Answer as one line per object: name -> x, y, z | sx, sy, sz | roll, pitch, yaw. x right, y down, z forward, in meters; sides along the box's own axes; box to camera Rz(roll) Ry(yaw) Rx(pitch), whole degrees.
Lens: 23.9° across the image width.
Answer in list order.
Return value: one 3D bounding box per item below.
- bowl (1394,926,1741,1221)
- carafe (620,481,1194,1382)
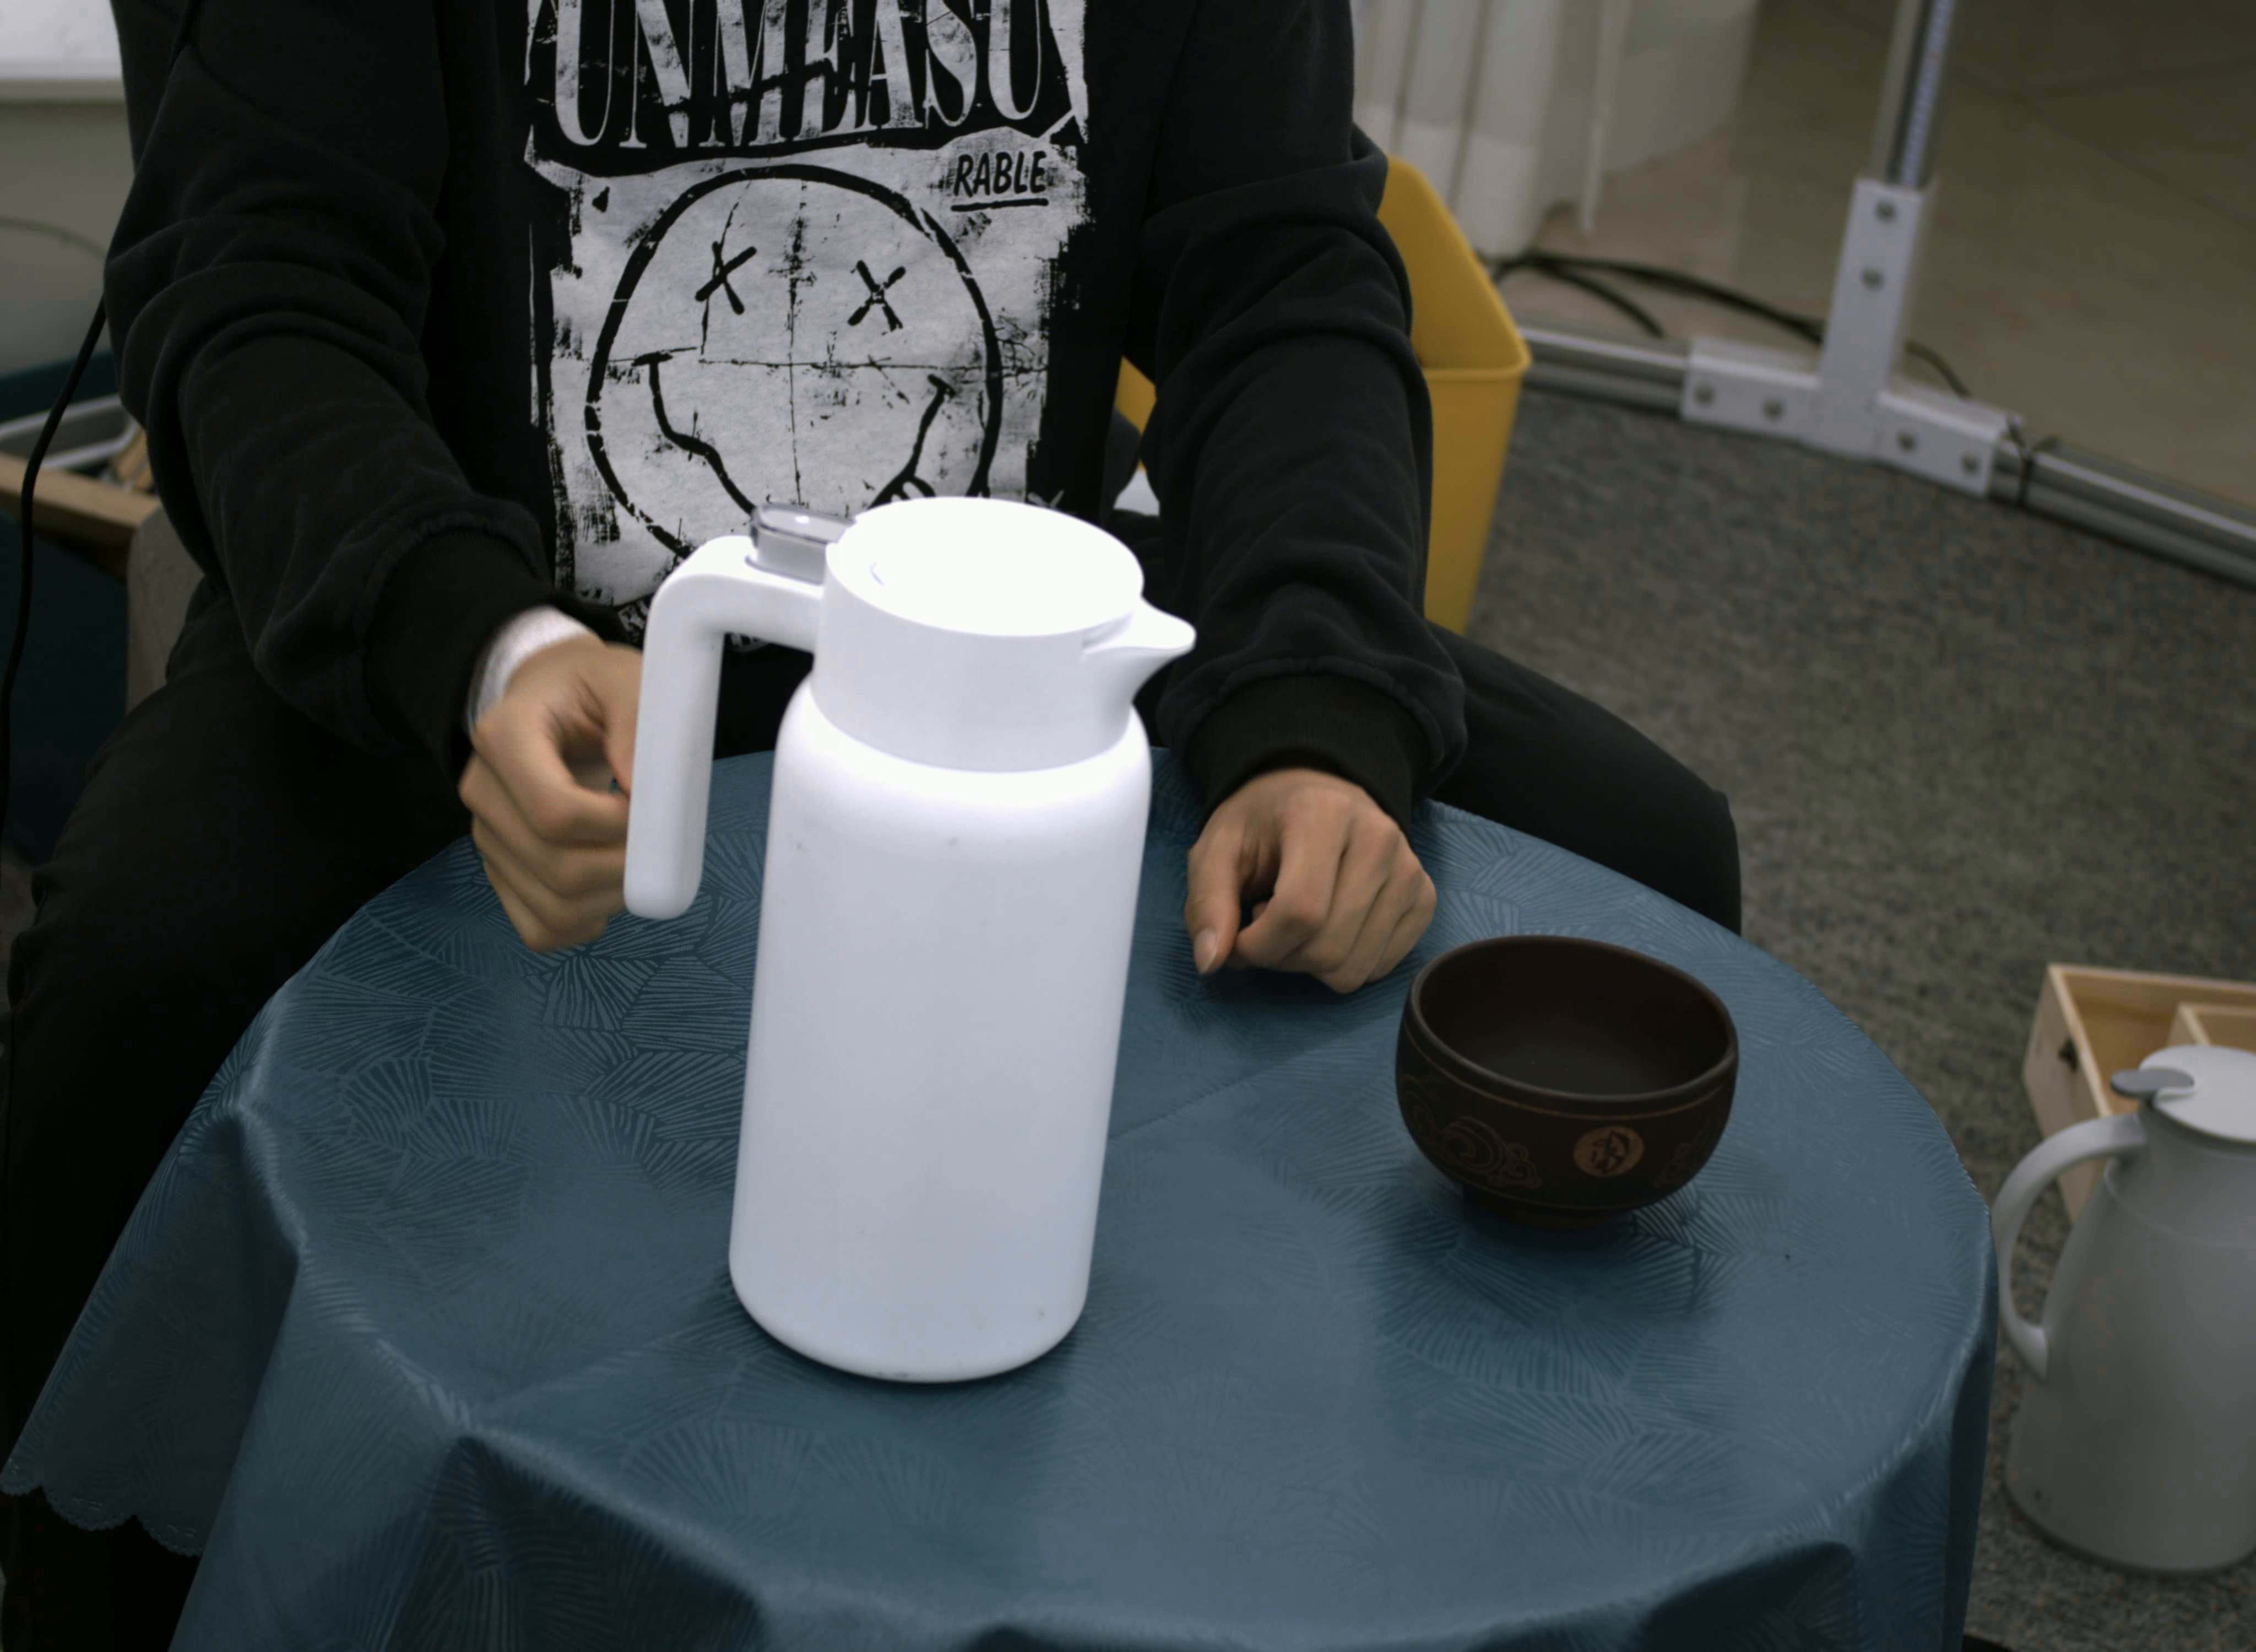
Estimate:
bowl -> 0.148, 0.092, 1.819 | 0.117, 0.069, 0.119 | 5, 27, -3
carafe -> -0.076, 0.032, 1.675 | 0.173, 0.268, 0.124 | 13, 29, 12
